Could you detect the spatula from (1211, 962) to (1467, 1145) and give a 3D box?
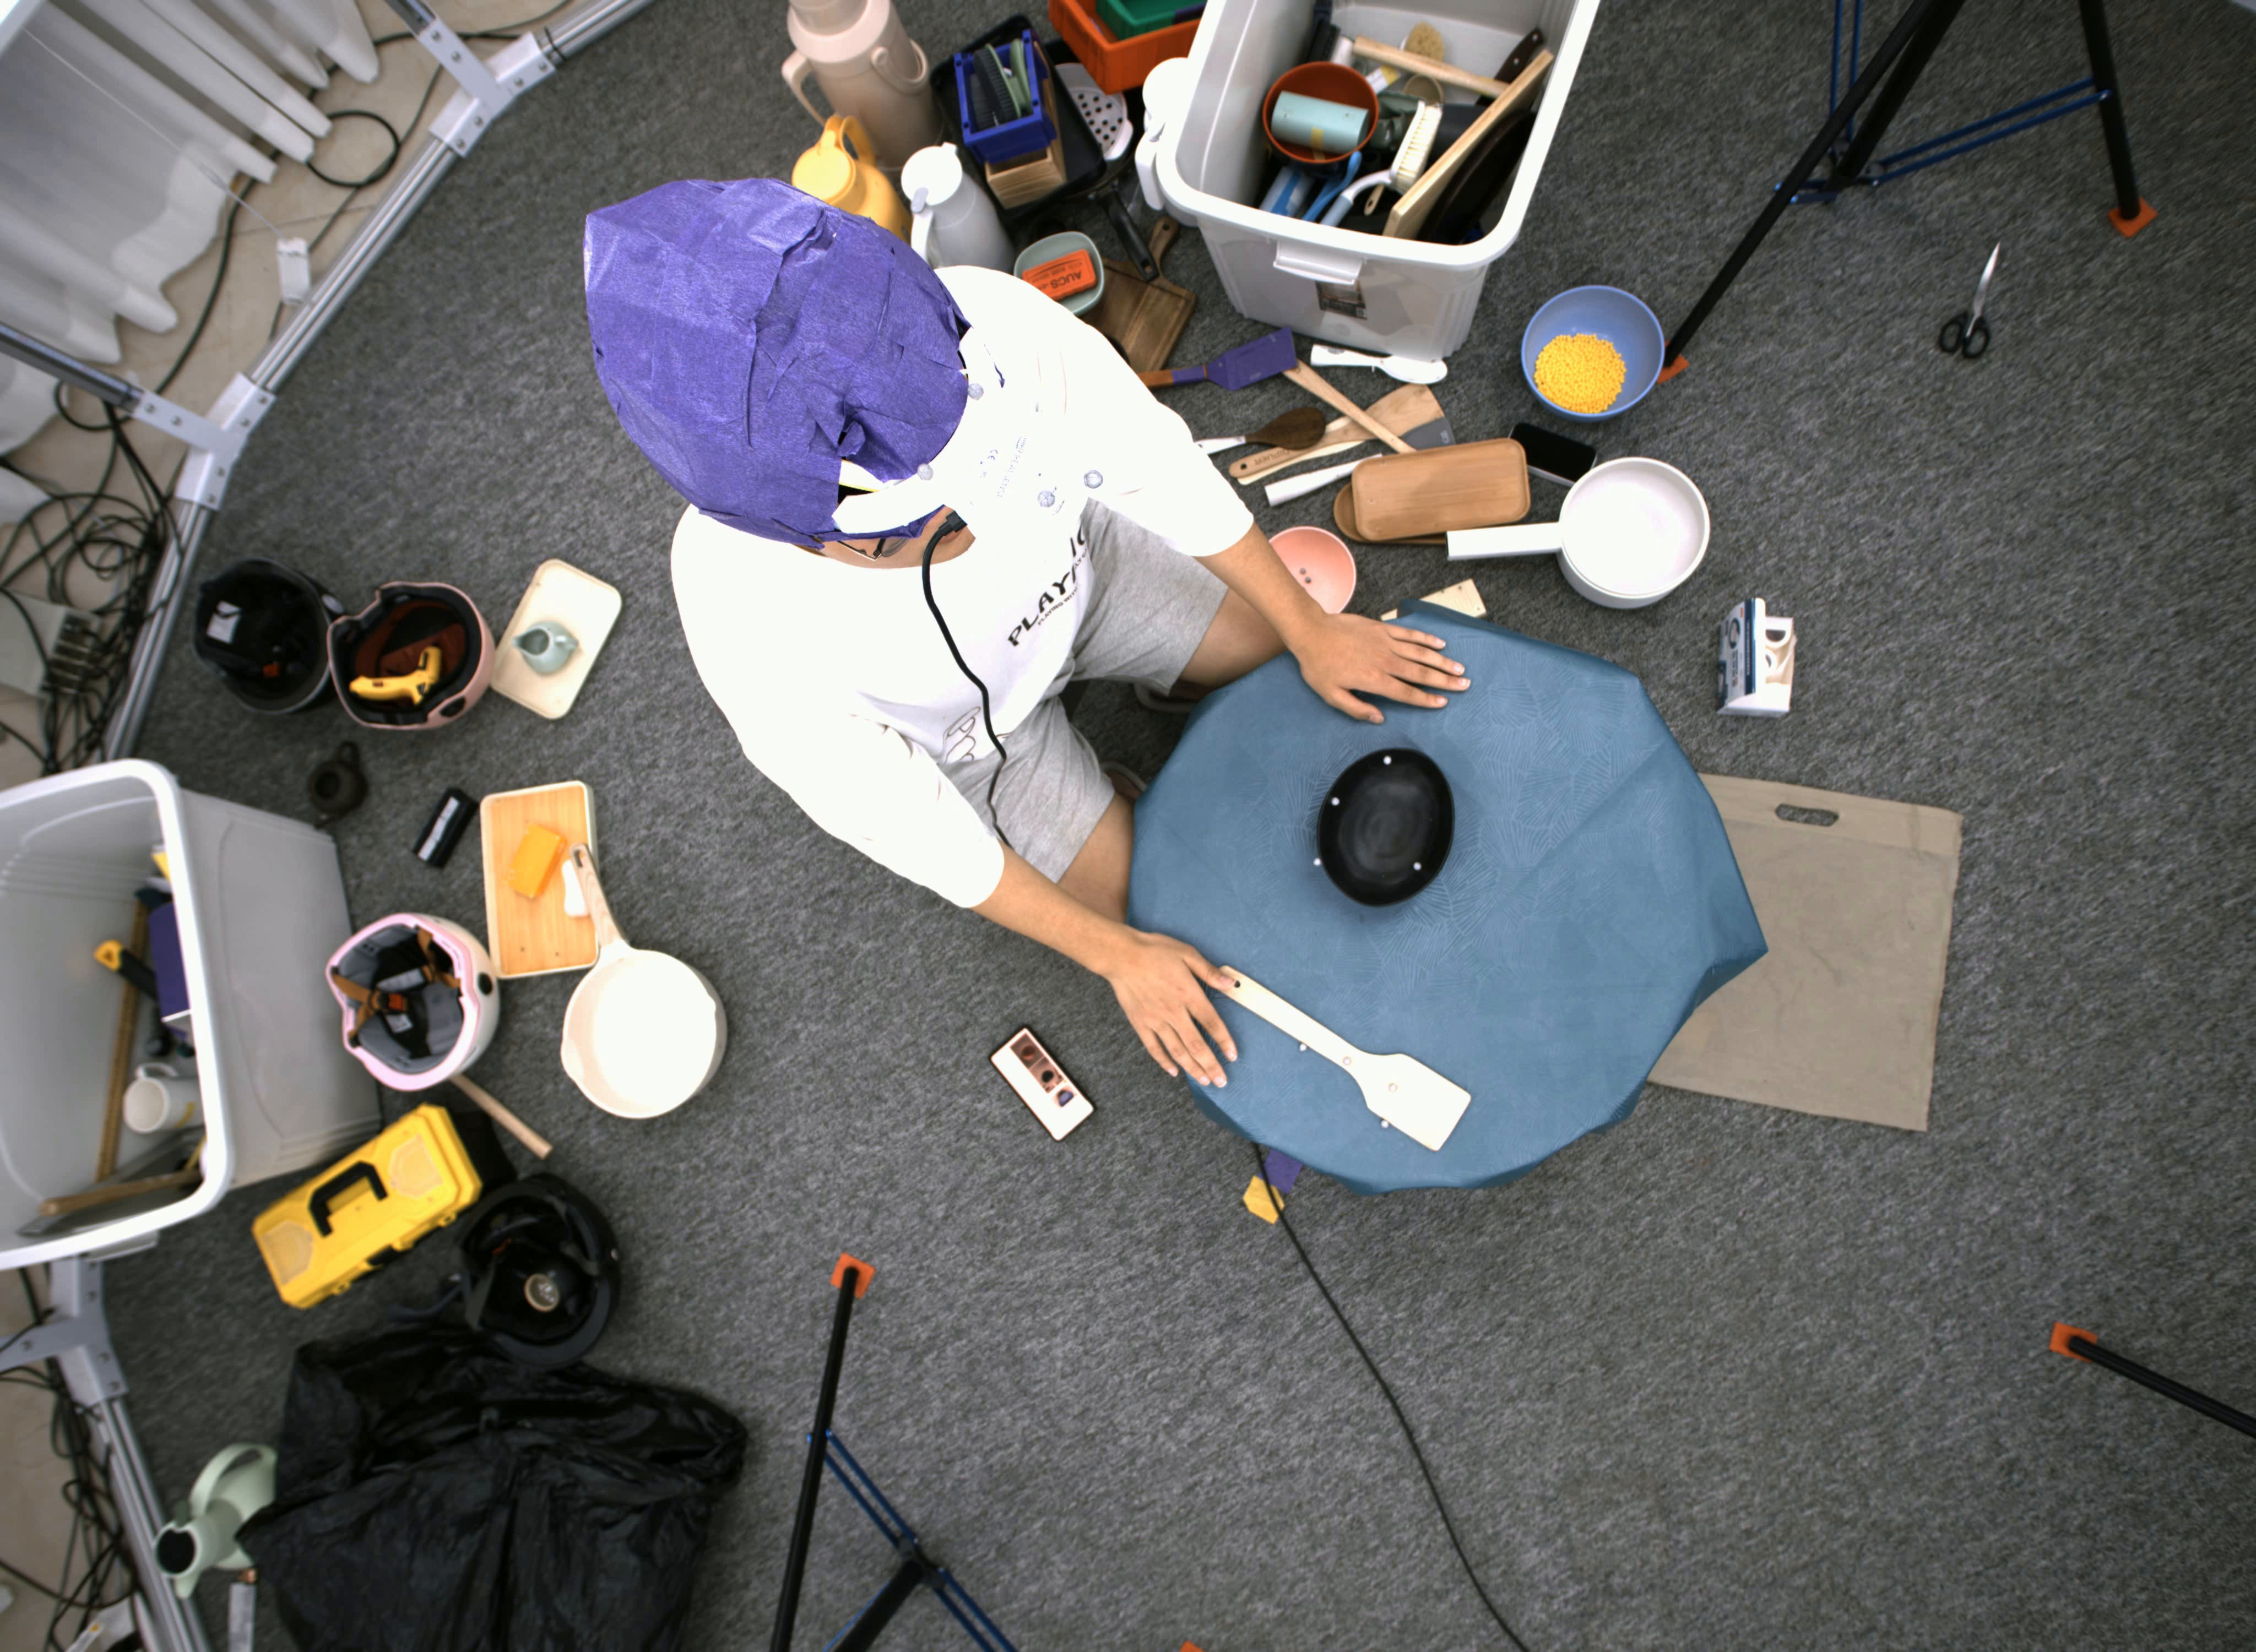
[{"bbox_3d":[0.213,0.228,1.456,0.292,0.010,0.072,31,94,11],"label":"spatula"}]

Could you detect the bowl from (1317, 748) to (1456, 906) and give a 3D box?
[{"bbox_3d":[0.268,0.000,1.432,0.137,0.067,0.170,18,88,12],"label":"bowl"}]
